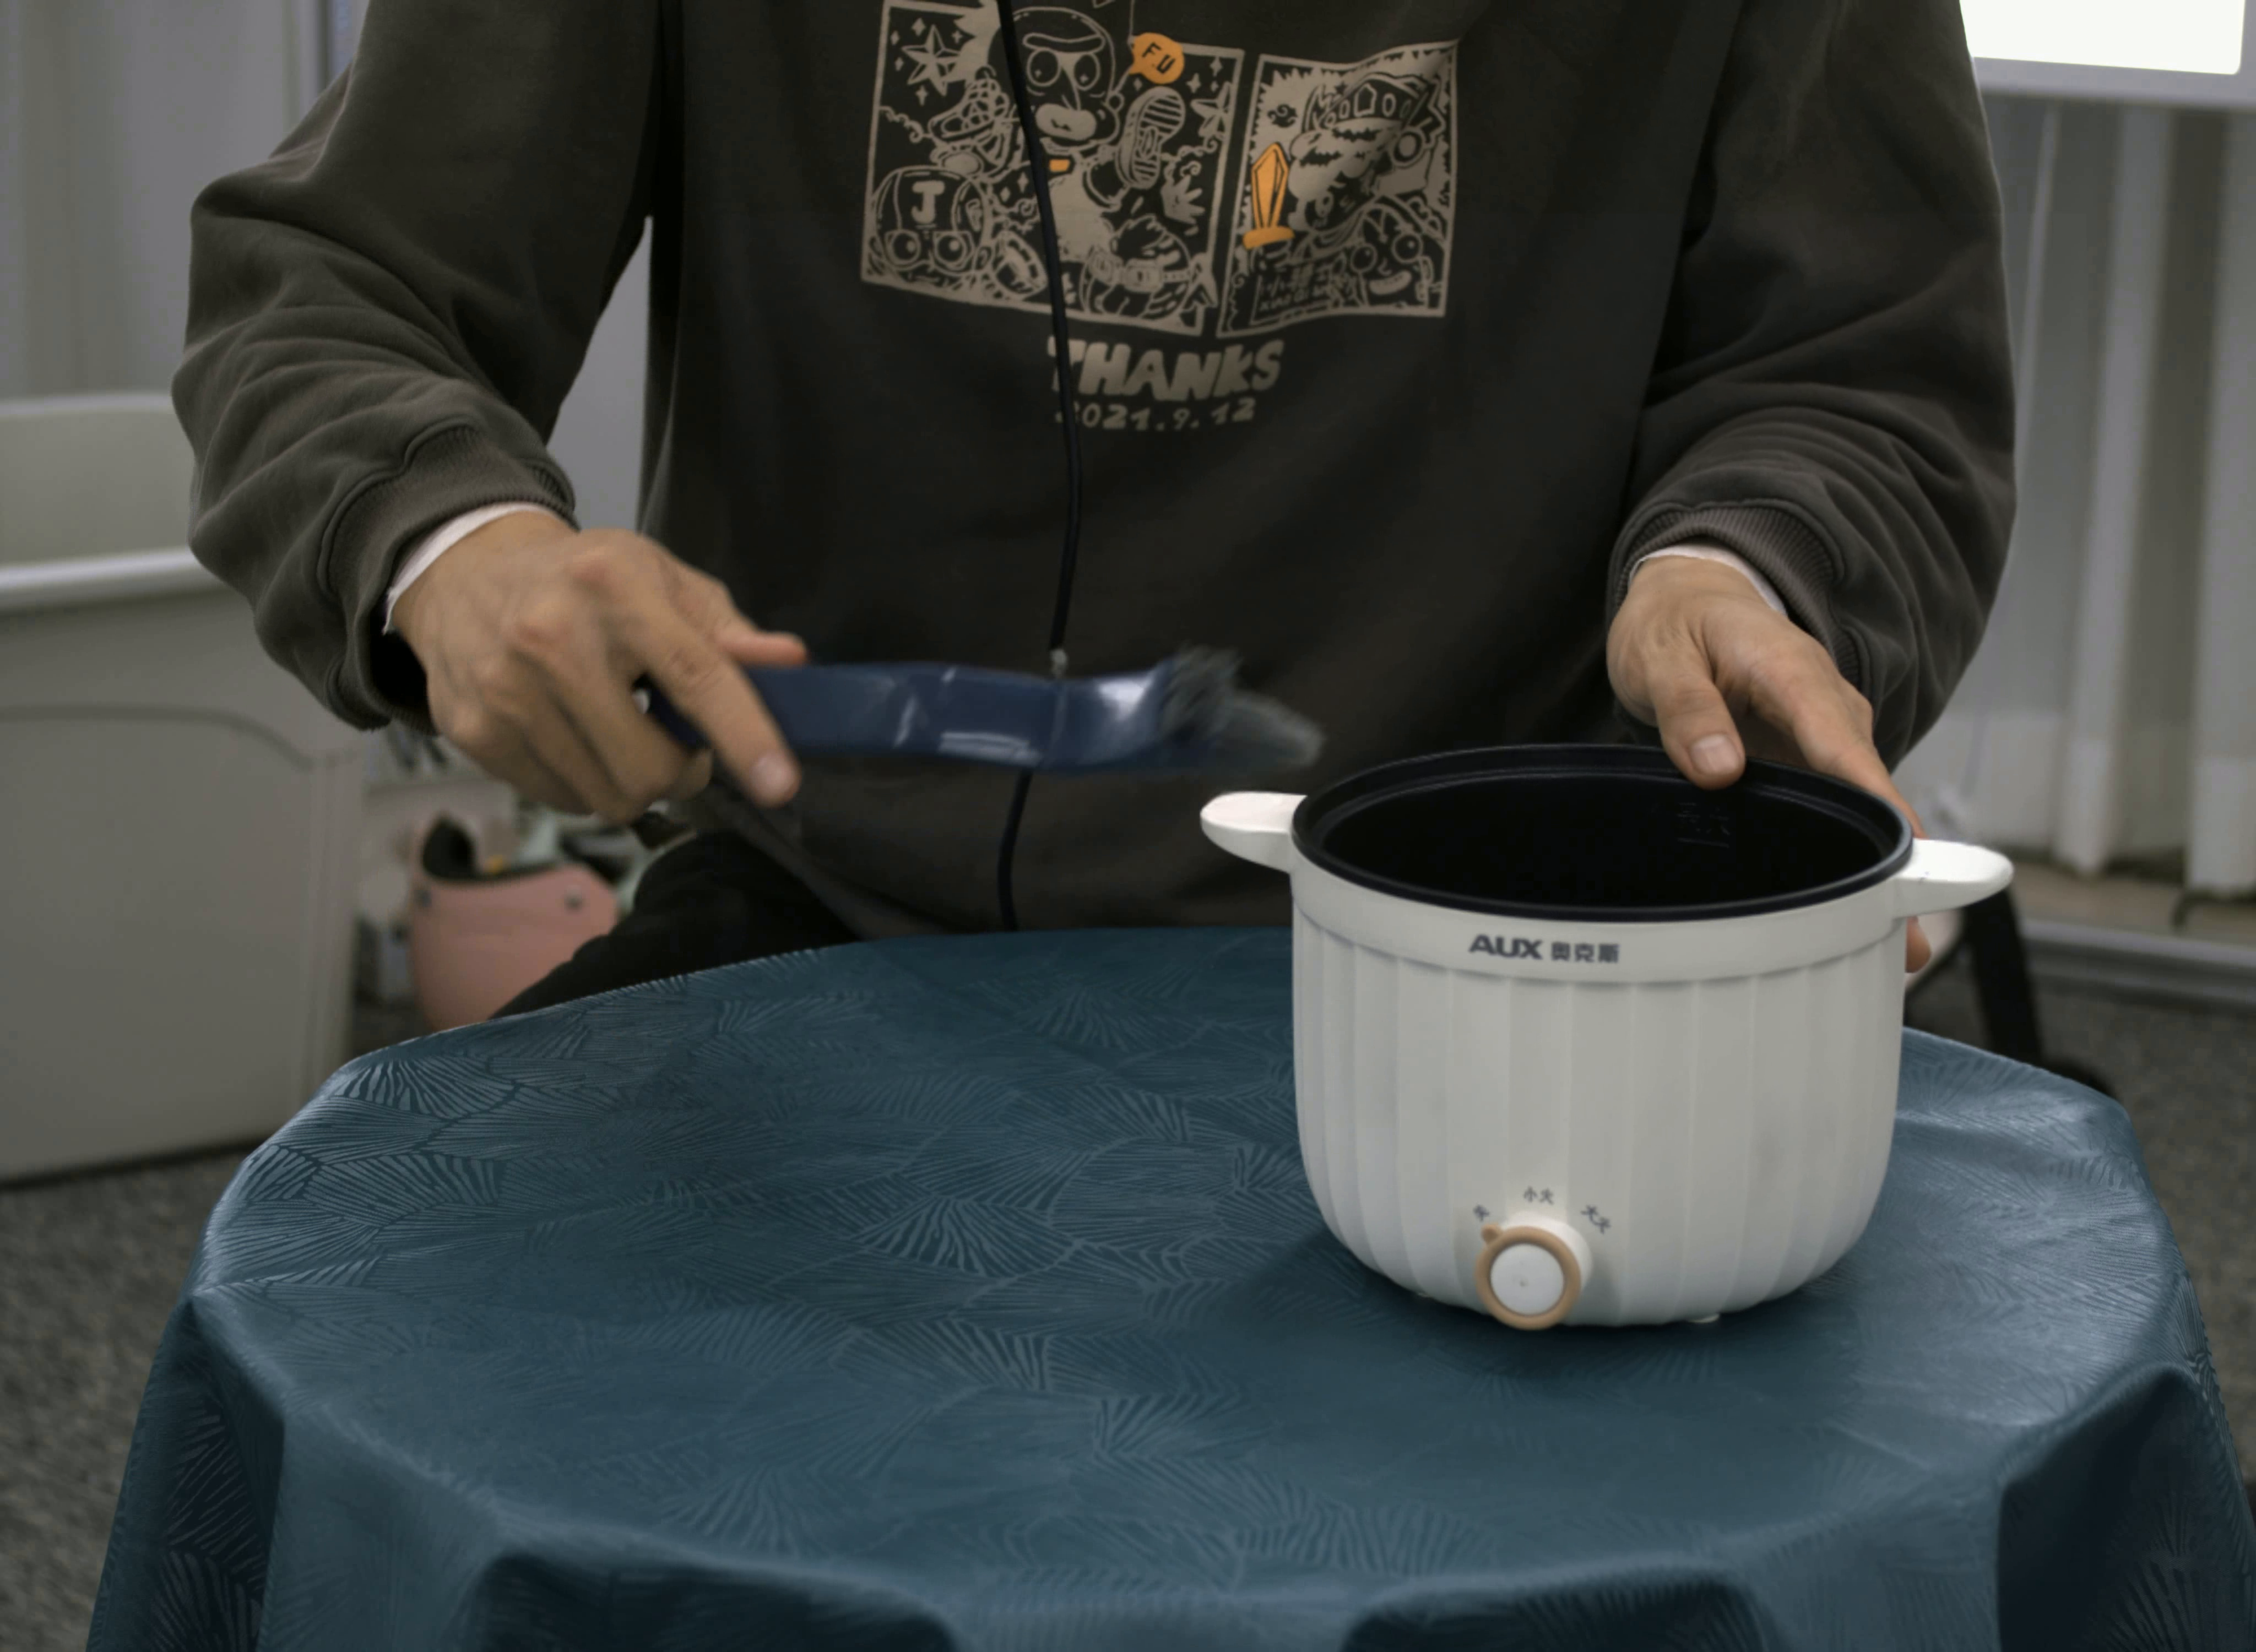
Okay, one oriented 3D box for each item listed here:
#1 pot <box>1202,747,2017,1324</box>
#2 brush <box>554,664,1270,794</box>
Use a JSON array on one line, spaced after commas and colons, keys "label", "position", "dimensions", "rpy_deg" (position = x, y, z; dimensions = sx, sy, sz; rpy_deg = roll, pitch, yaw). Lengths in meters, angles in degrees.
[{"label": "pot", "position": [0.138, 0.064, 1.548], "dimensions": [0.238, 0.143, 0.190], "rpy_deg": [3, 13, 13]}, {"label": "brush", "position": [-0.078, -0.031, 1.493], "dimensions": [0.270, 0.033, 0.097], "rpy_deg": [4, -9, 35]}]
